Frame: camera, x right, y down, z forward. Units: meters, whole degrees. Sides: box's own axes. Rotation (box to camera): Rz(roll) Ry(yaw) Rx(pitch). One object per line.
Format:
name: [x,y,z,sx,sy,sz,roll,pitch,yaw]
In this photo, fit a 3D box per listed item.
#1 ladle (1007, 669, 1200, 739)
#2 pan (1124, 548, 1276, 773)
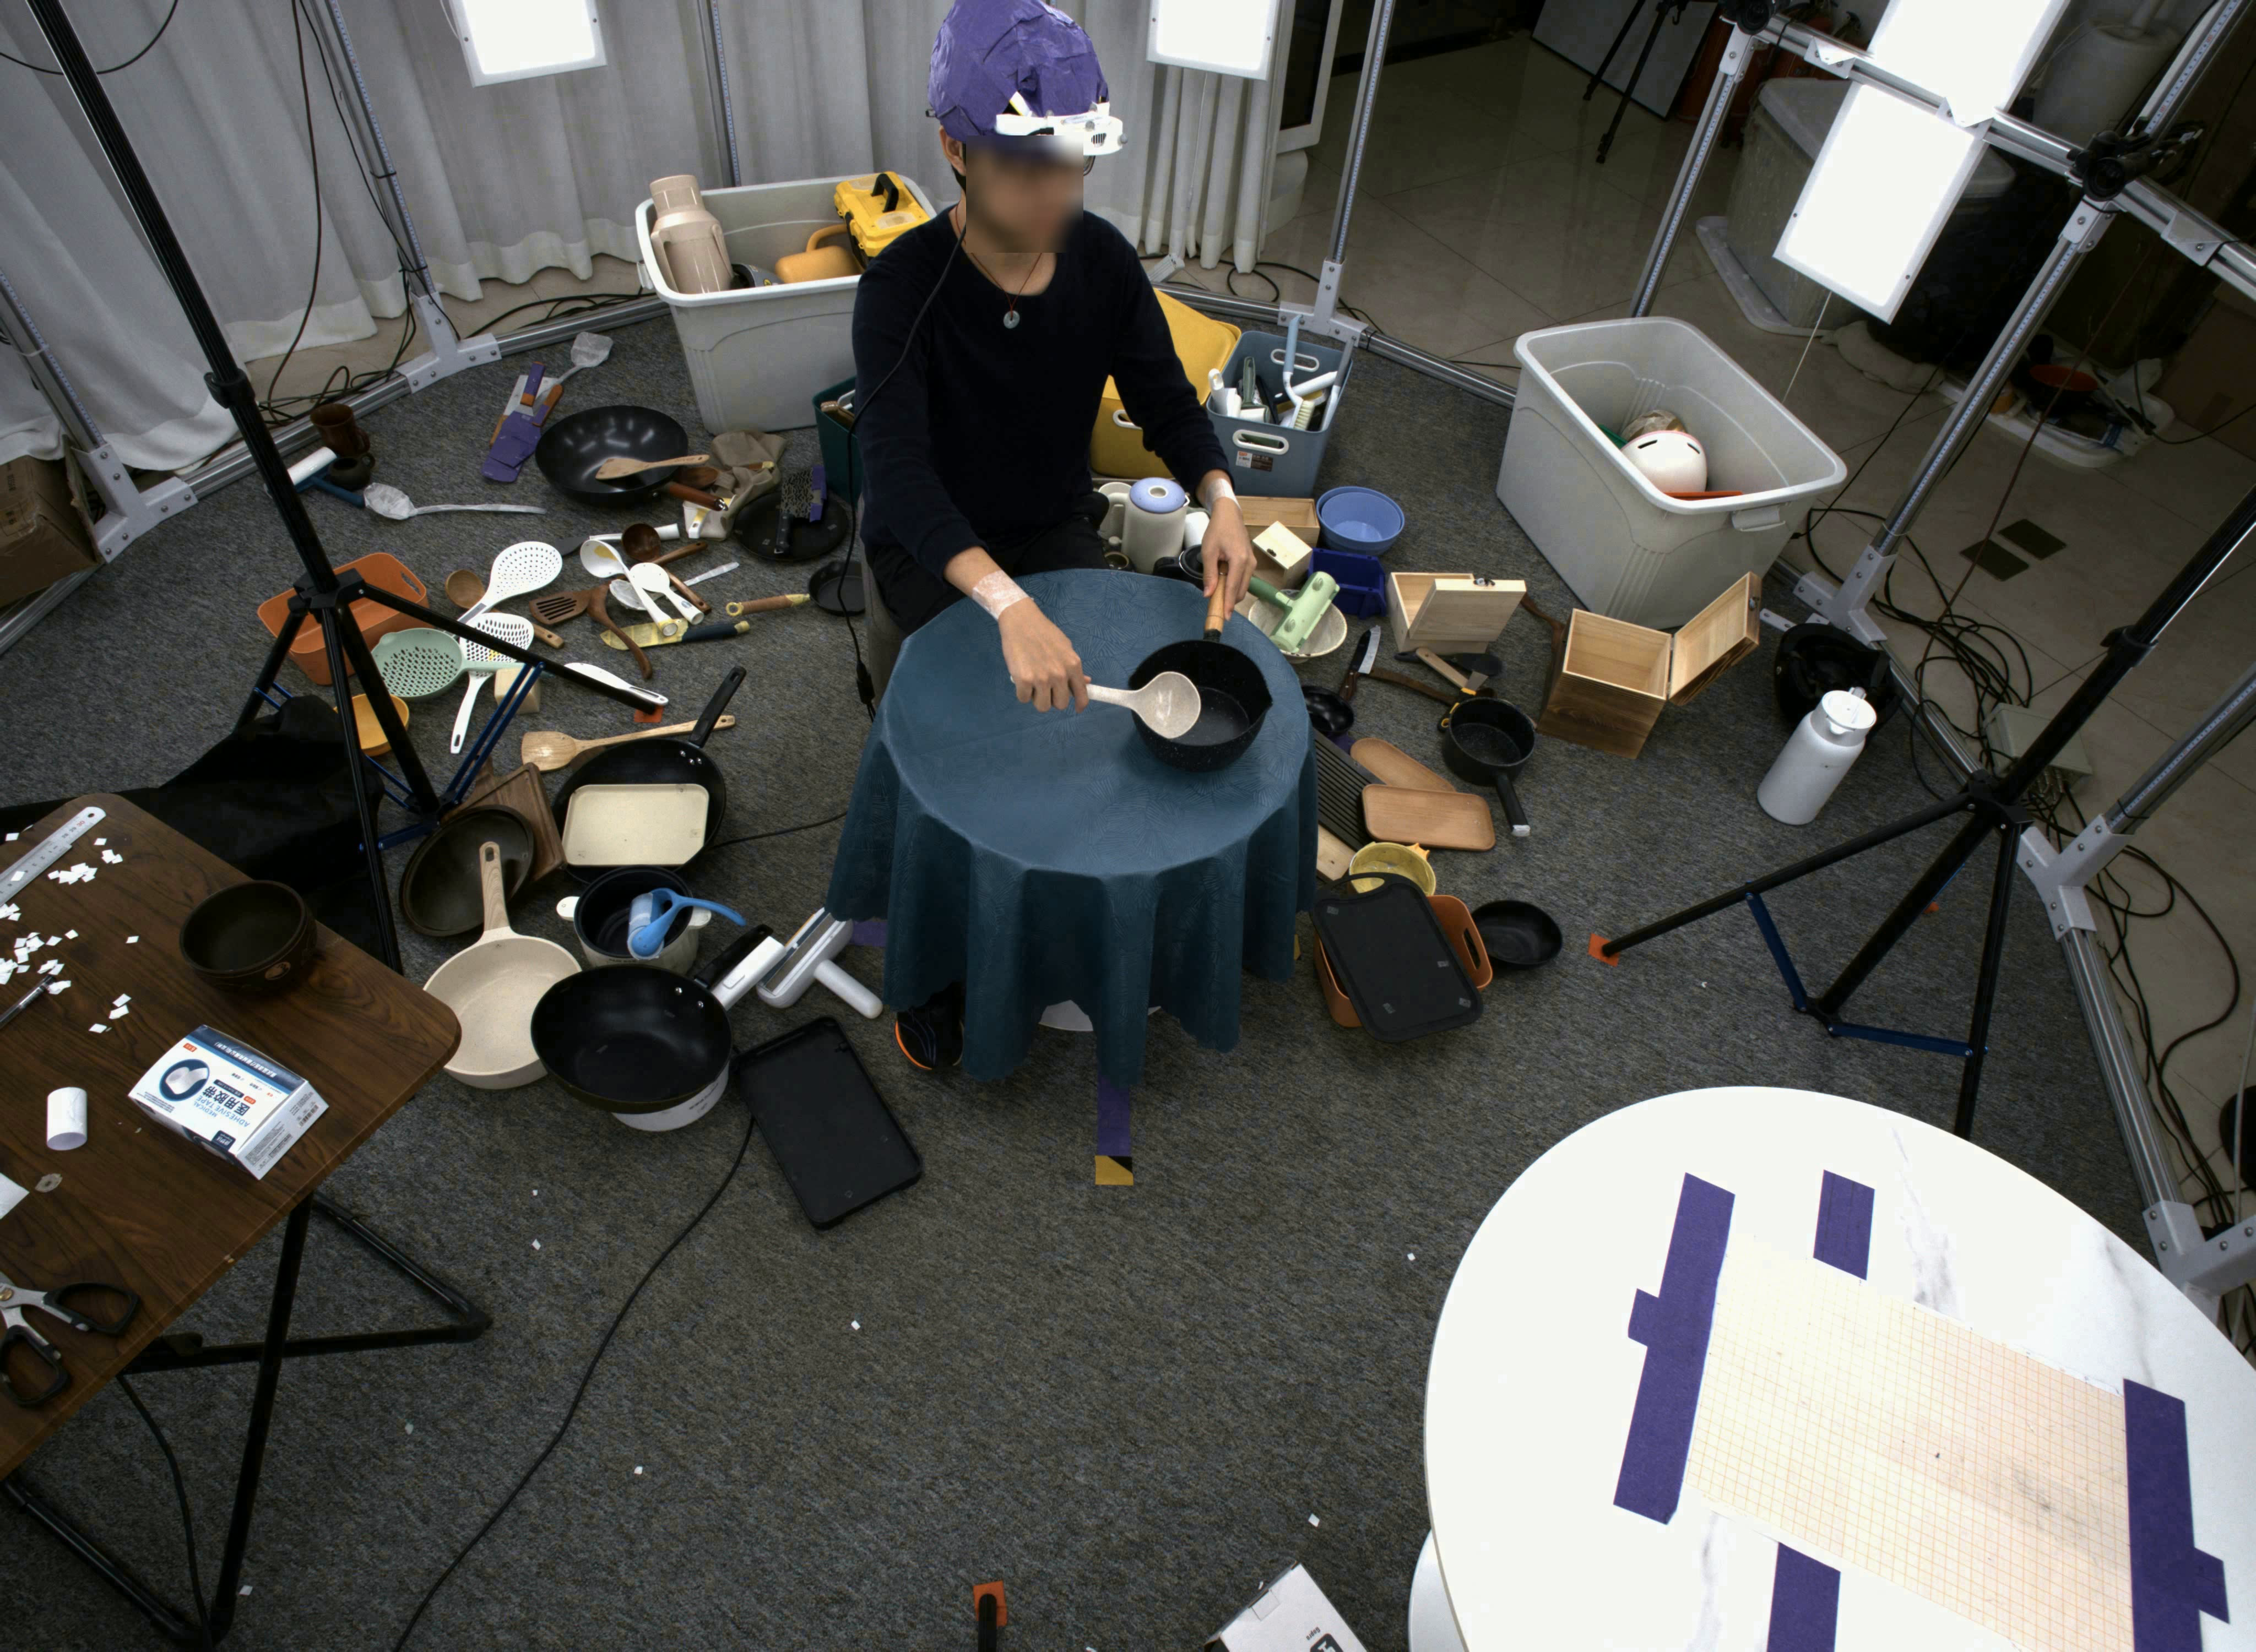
ladle: [-0.025,-0.167,1.621,0.273,0.089,0.070,6,6,-43]
pan: [0.109,-0.230,1.783,0.208,0.106,0.350,7,57,7]
